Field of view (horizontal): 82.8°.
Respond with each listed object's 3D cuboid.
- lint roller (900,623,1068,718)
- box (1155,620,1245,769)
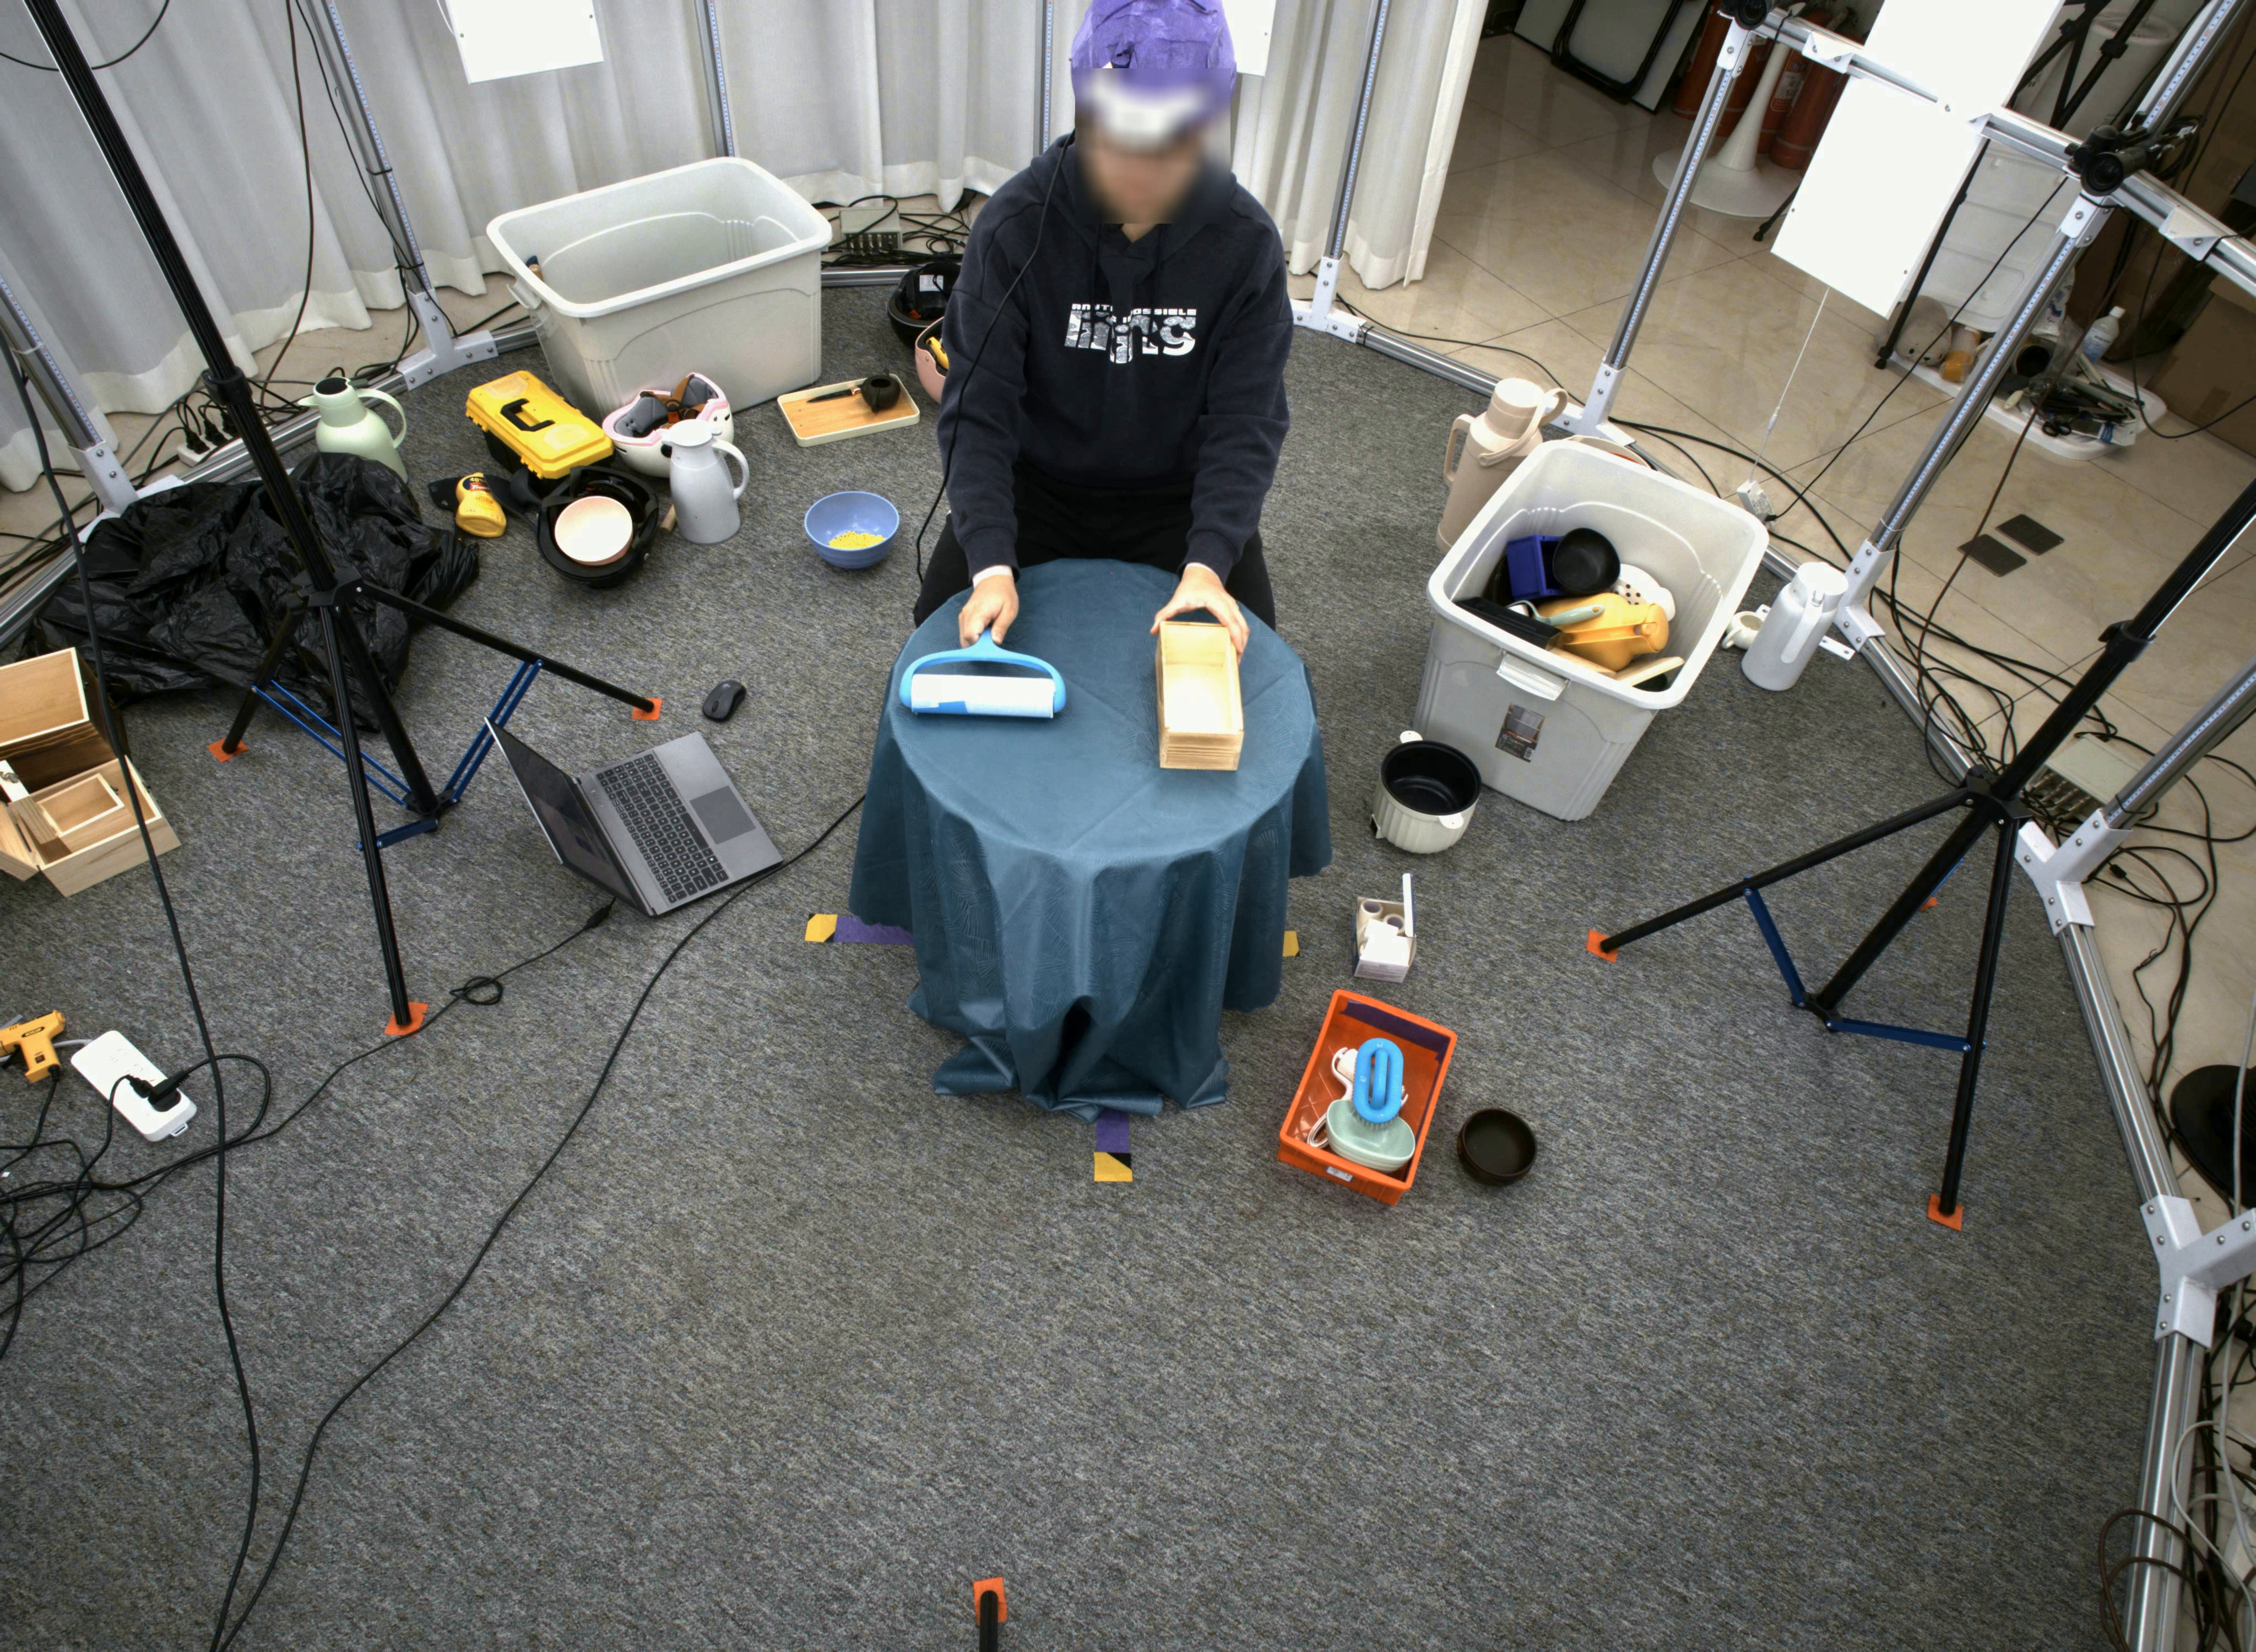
[{"bbox_3d":[-0.199,-0.231,1.804,0.229,0.066,0.184,-1,57,-2],"label":"lint roller"},{"bbox_3d":[0.097,-0.185,1.782,0.107,0.078,0.217,2,49,-4],"label":"box"}]
